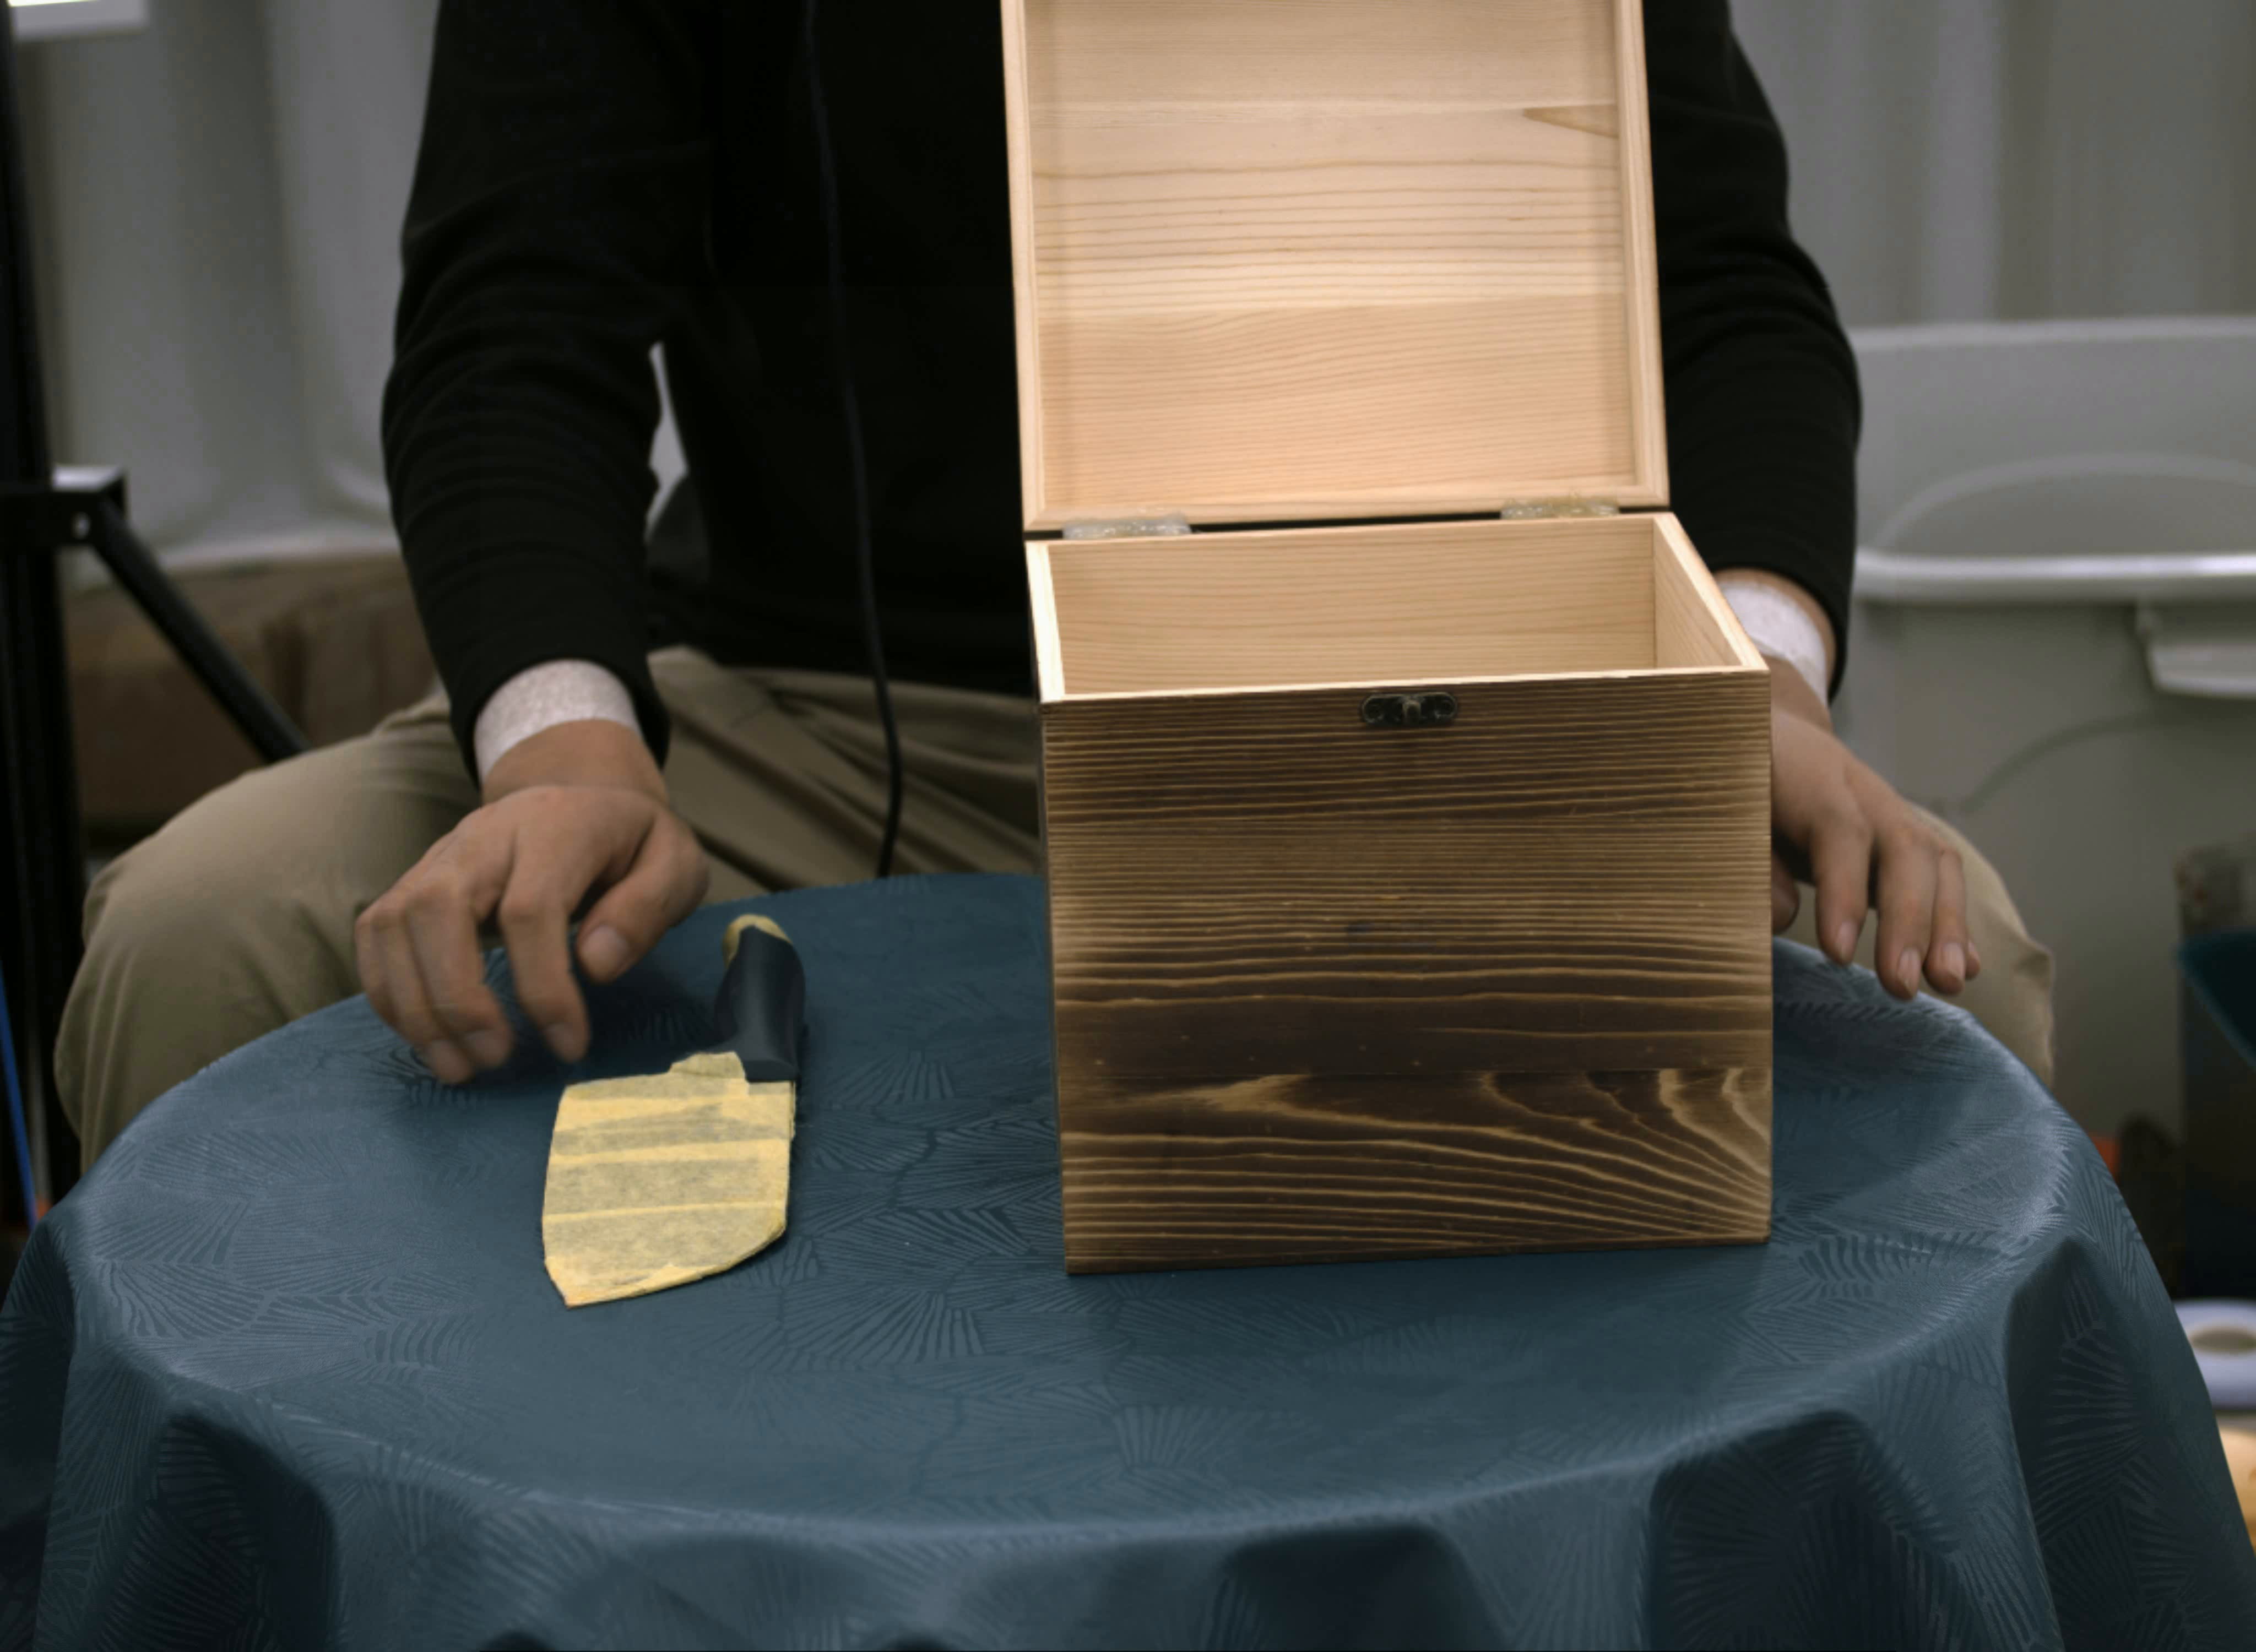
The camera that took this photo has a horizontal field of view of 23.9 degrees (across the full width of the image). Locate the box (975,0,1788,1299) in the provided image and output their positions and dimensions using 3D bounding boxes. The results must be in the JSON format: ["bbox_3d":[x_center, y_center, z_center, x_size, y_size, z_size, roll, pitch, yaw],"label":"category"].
[{"bbox_3d":[0.067,-0.090,1.590,0.208,0.375,0.324,-3,14,-1],"label":"box"}]

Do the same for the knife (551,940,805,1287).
[{"bbox_3d":[-0.134,0.087,1.628,0.081,0.027,0.290,0,17,2],"label":"knife"}]
